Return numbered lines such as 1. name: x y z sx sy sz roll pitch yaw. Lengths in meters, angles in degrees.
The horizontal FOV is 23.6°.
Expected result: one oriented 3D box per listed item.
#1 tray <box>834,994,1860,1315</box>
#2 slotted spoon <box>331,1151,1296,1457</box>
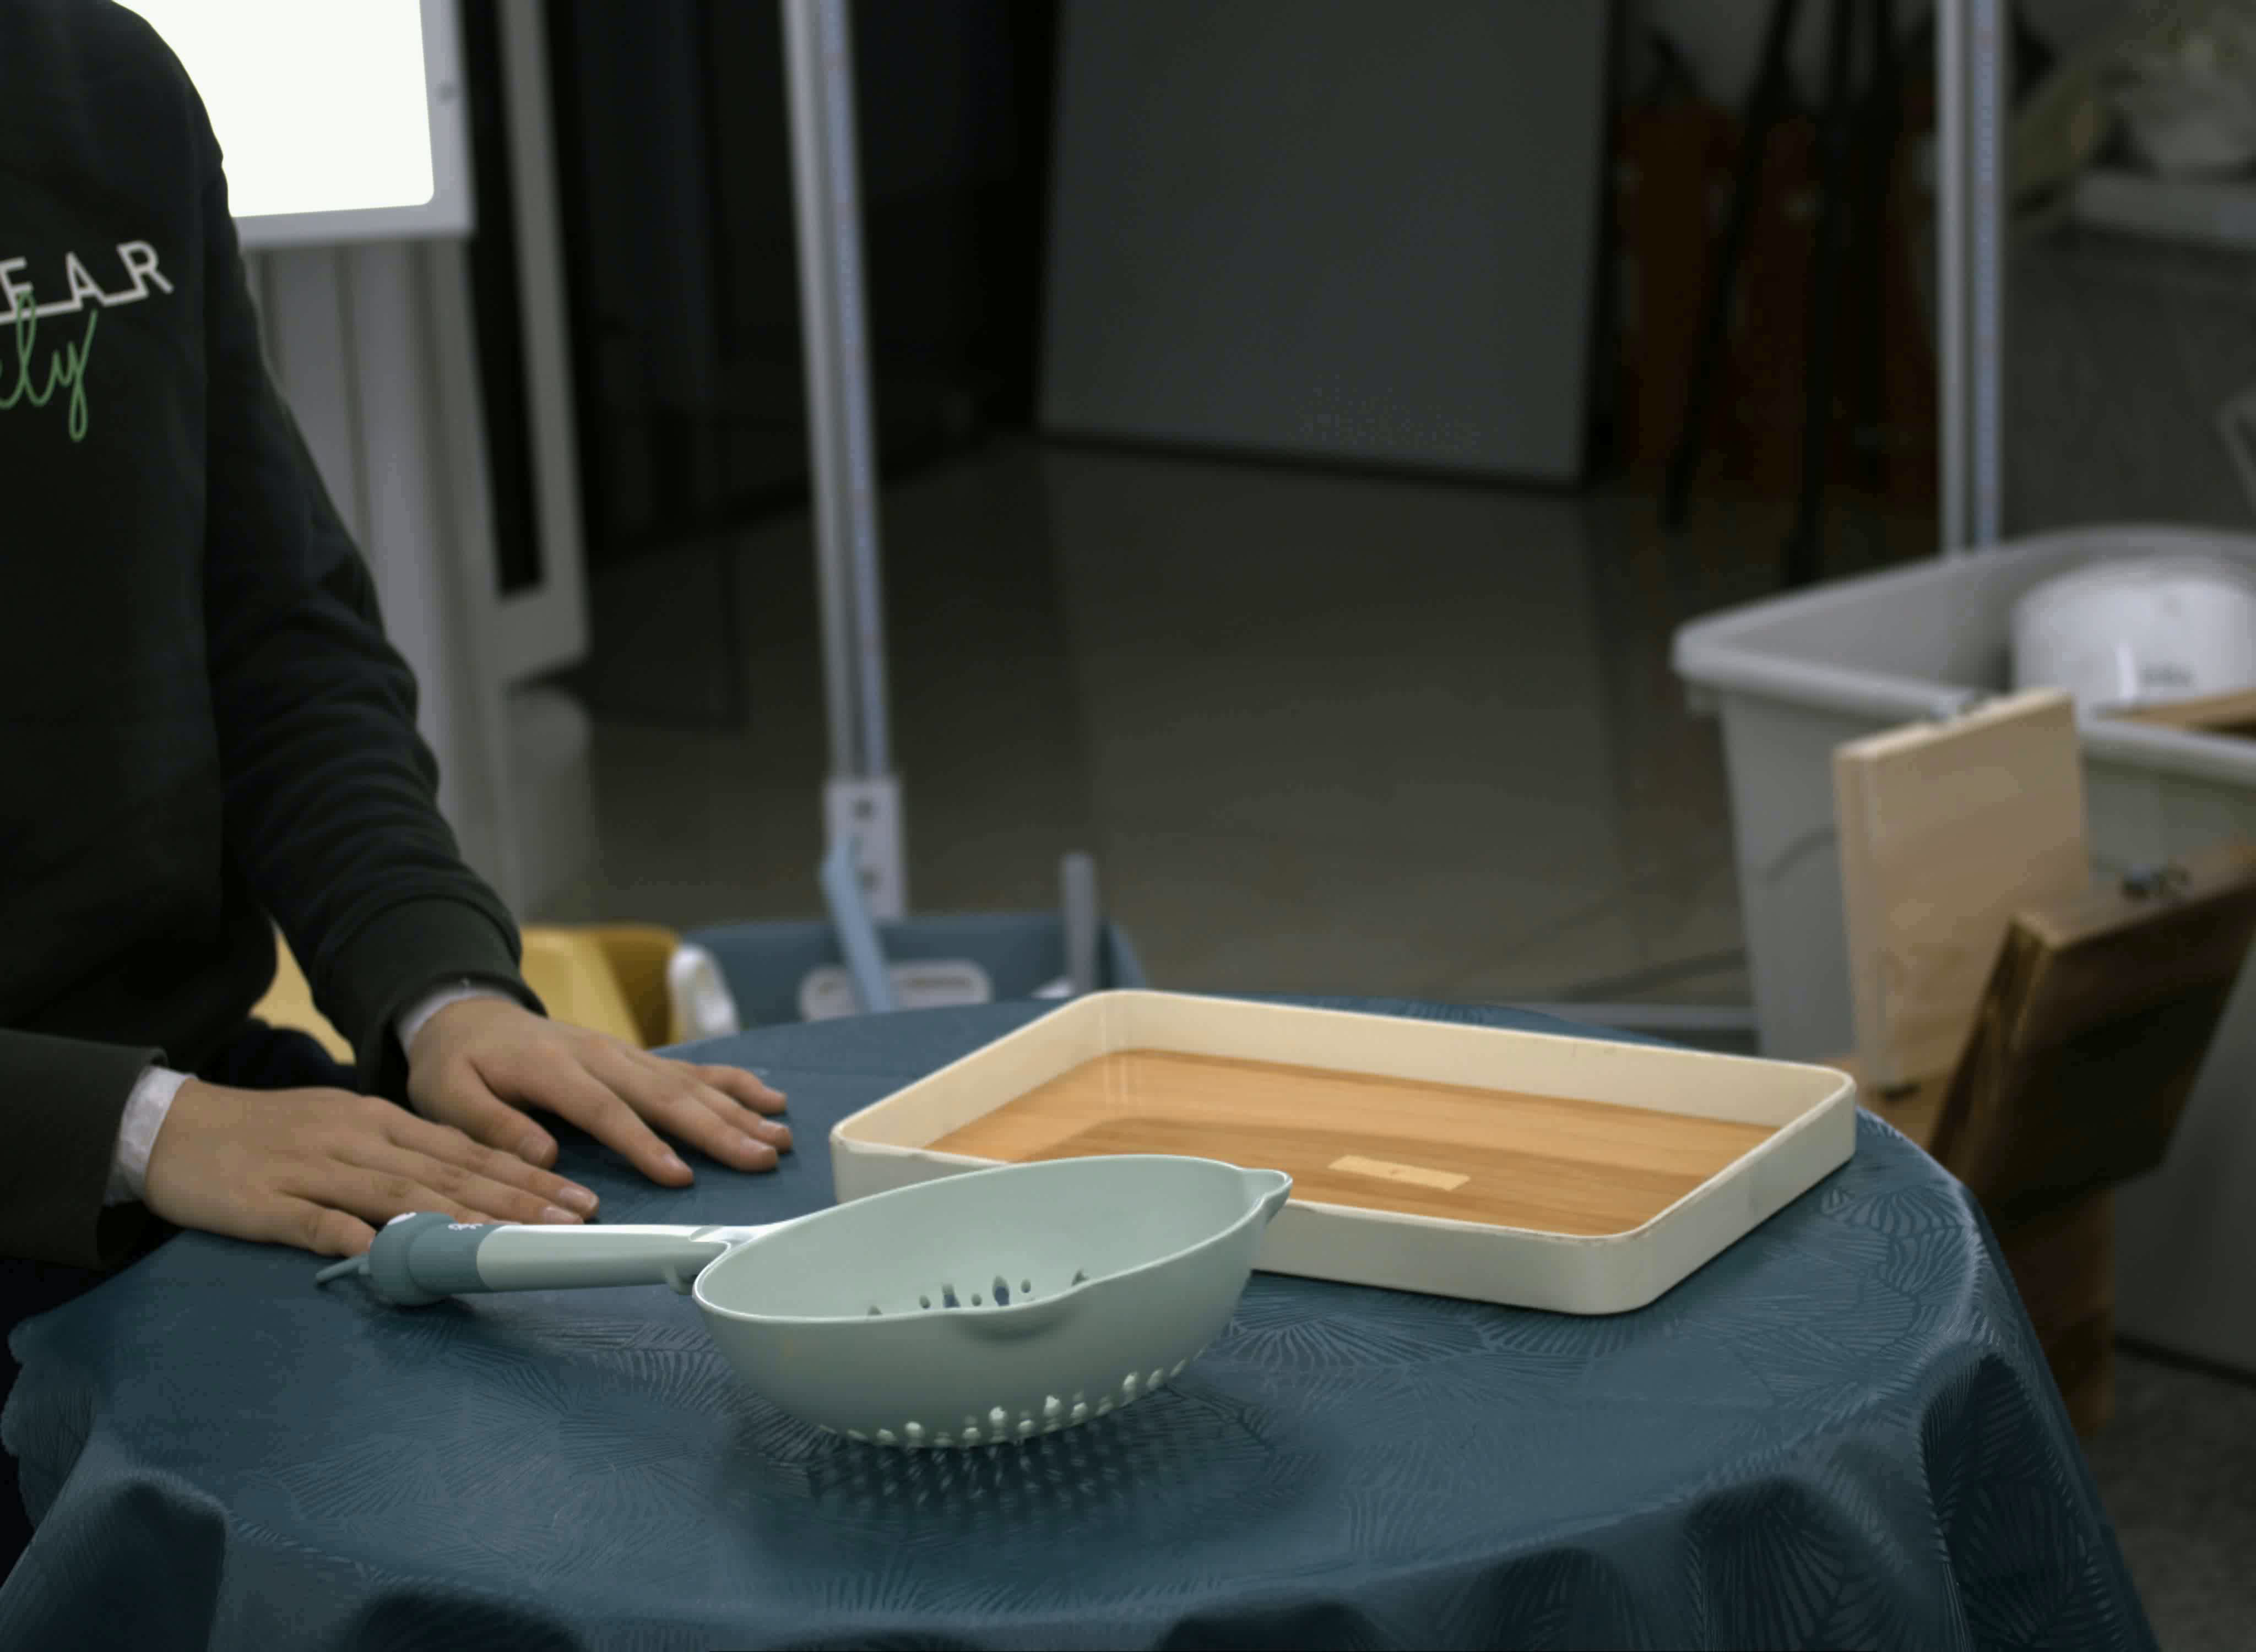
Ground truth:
1. tray: 0.072 0.104 1.764 0.302 0.028 0.188 5 17 32
2. slotted spoon: -0.115 0.134 1.618 0.361 0.076 0.166 7 17 38
